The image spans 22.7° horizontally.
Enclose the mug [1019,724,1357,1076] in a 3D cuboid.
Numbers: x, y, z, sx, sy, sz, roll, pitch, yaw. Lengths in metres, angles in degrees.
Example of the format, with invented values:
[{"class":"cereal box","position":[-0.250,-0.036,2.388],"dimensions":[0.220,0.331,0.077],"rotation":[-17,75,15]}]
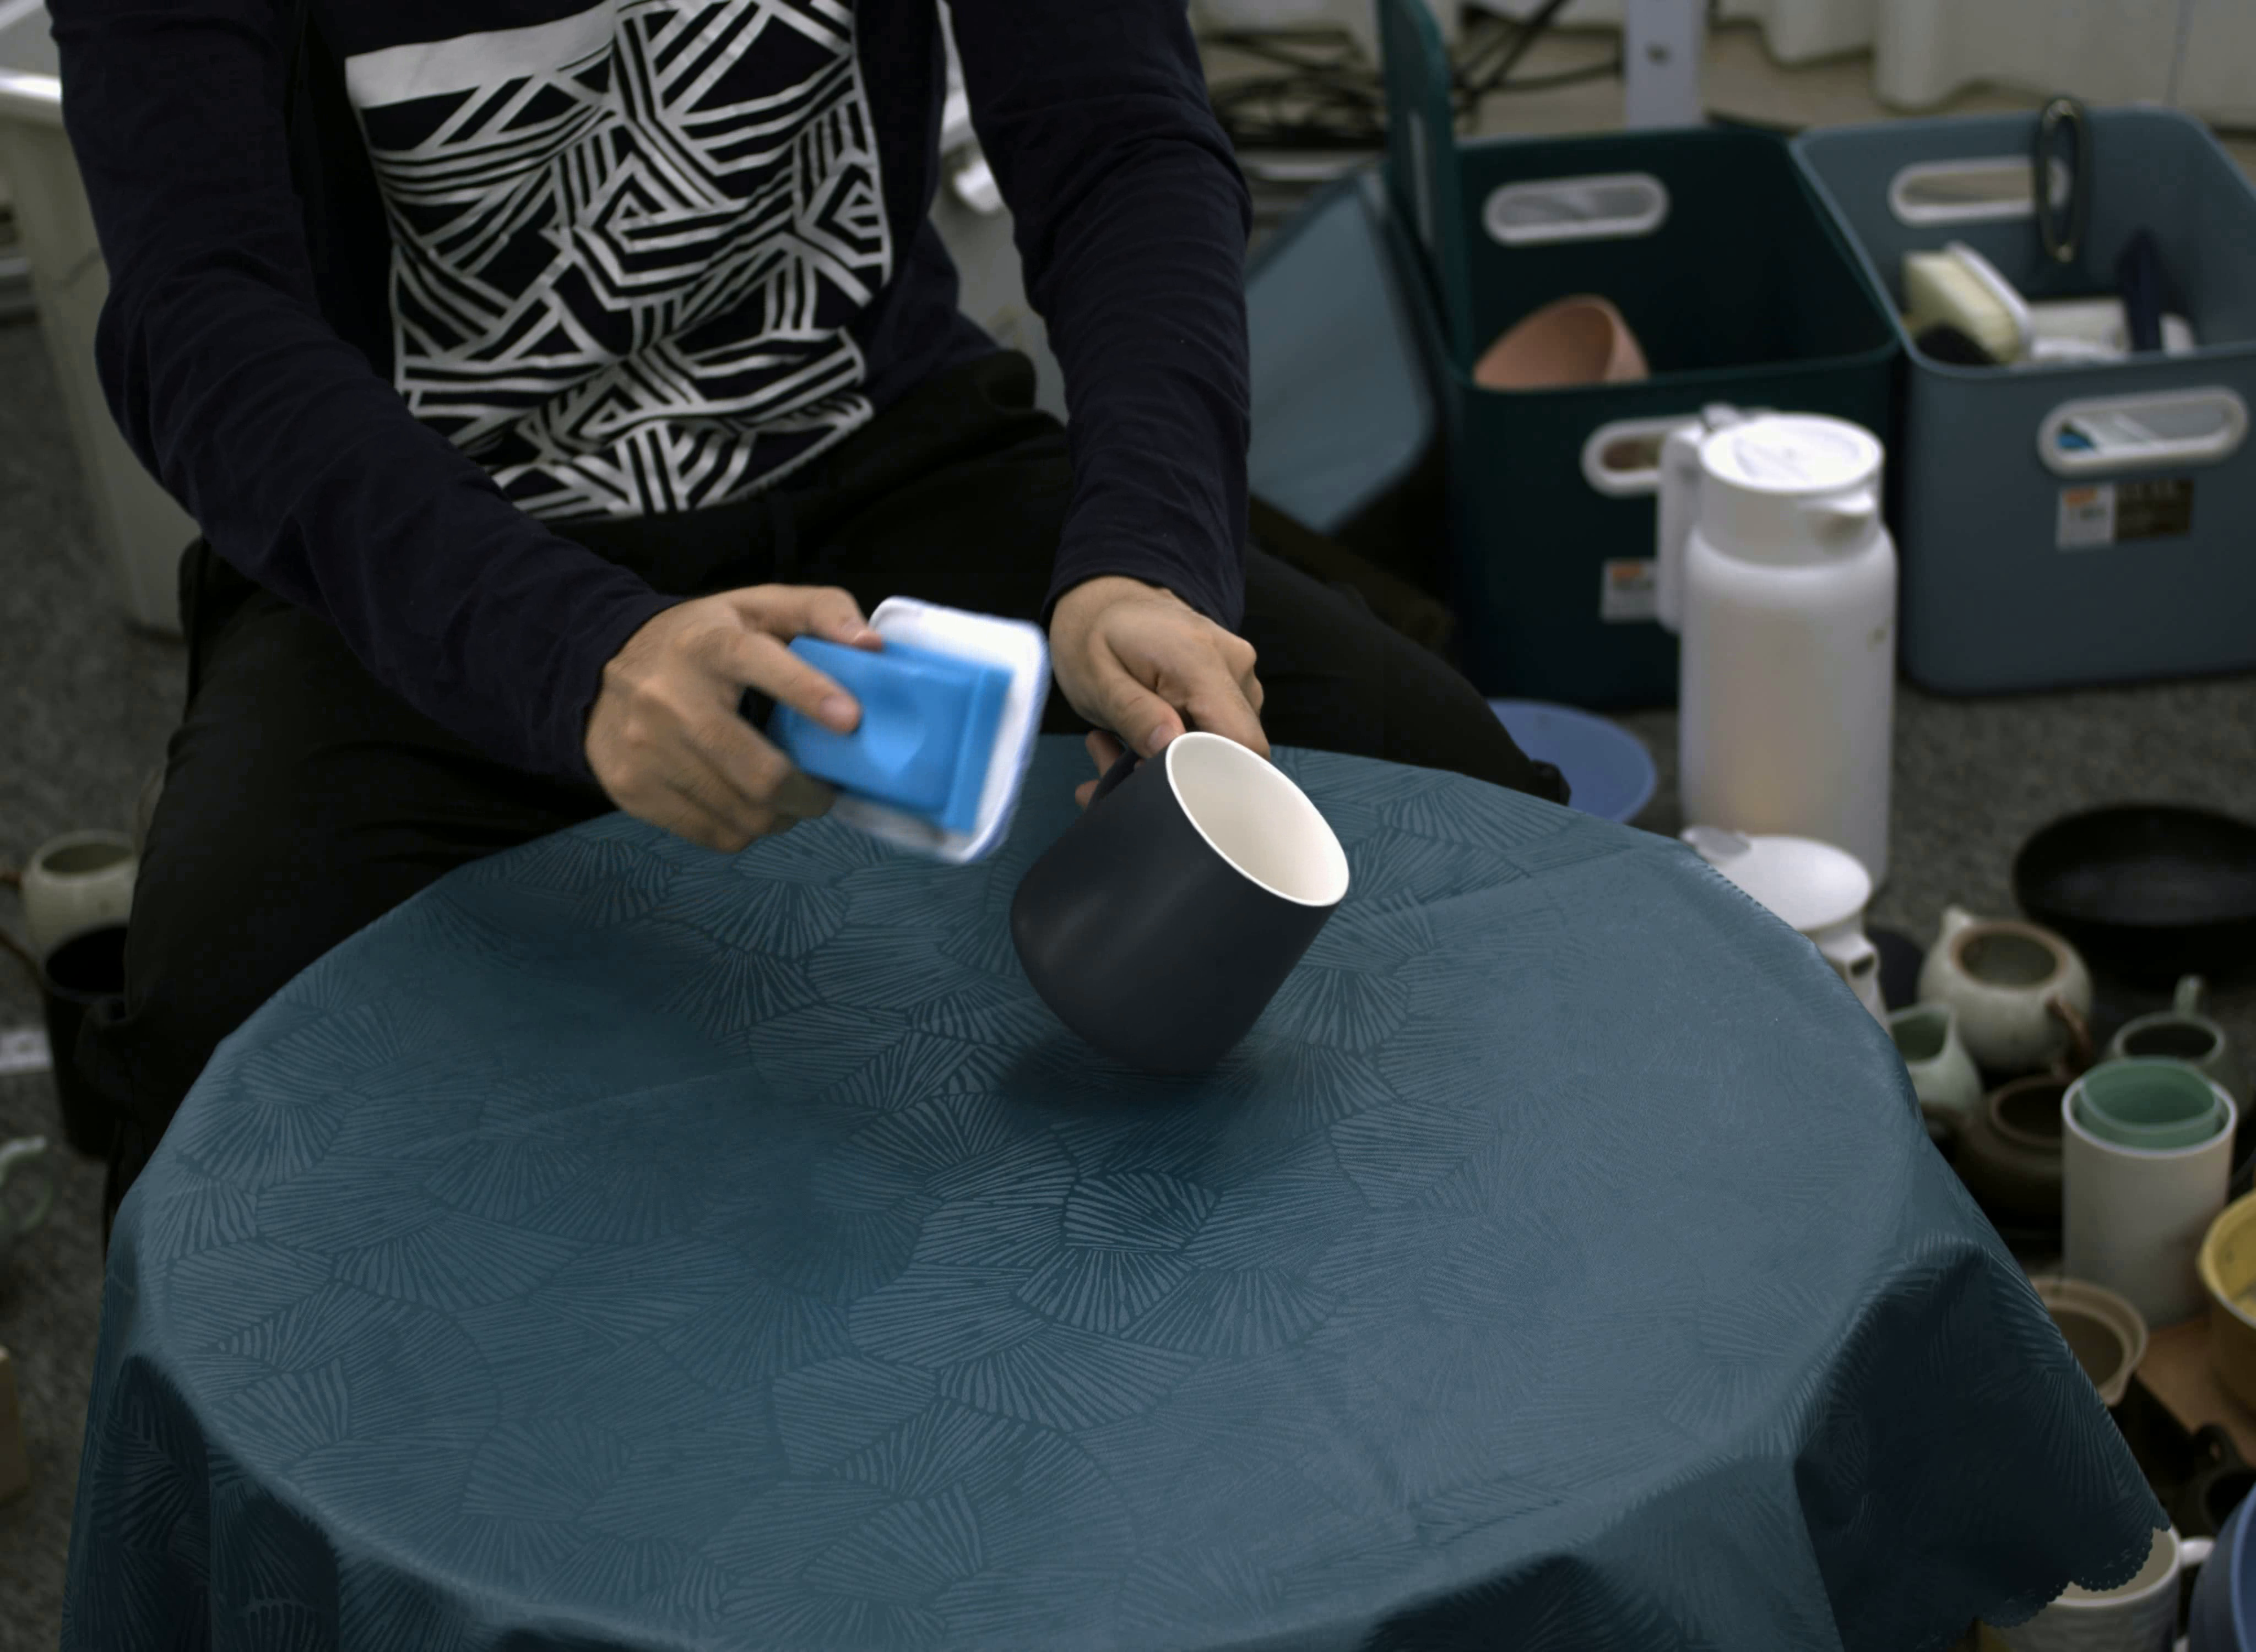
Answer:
[{"class":"mug","position":[0.018,0.017,1.919],"dimensions":[0.093,0.088,0.125],"rotation":[26,31,-30]}]

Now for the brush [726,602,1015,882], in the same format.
[{"class":"brush","position":[-0.091,-0.033,1.871],"dimensions":[0.056,0.084,0.144],"rotation":[20,1,-28]}]
